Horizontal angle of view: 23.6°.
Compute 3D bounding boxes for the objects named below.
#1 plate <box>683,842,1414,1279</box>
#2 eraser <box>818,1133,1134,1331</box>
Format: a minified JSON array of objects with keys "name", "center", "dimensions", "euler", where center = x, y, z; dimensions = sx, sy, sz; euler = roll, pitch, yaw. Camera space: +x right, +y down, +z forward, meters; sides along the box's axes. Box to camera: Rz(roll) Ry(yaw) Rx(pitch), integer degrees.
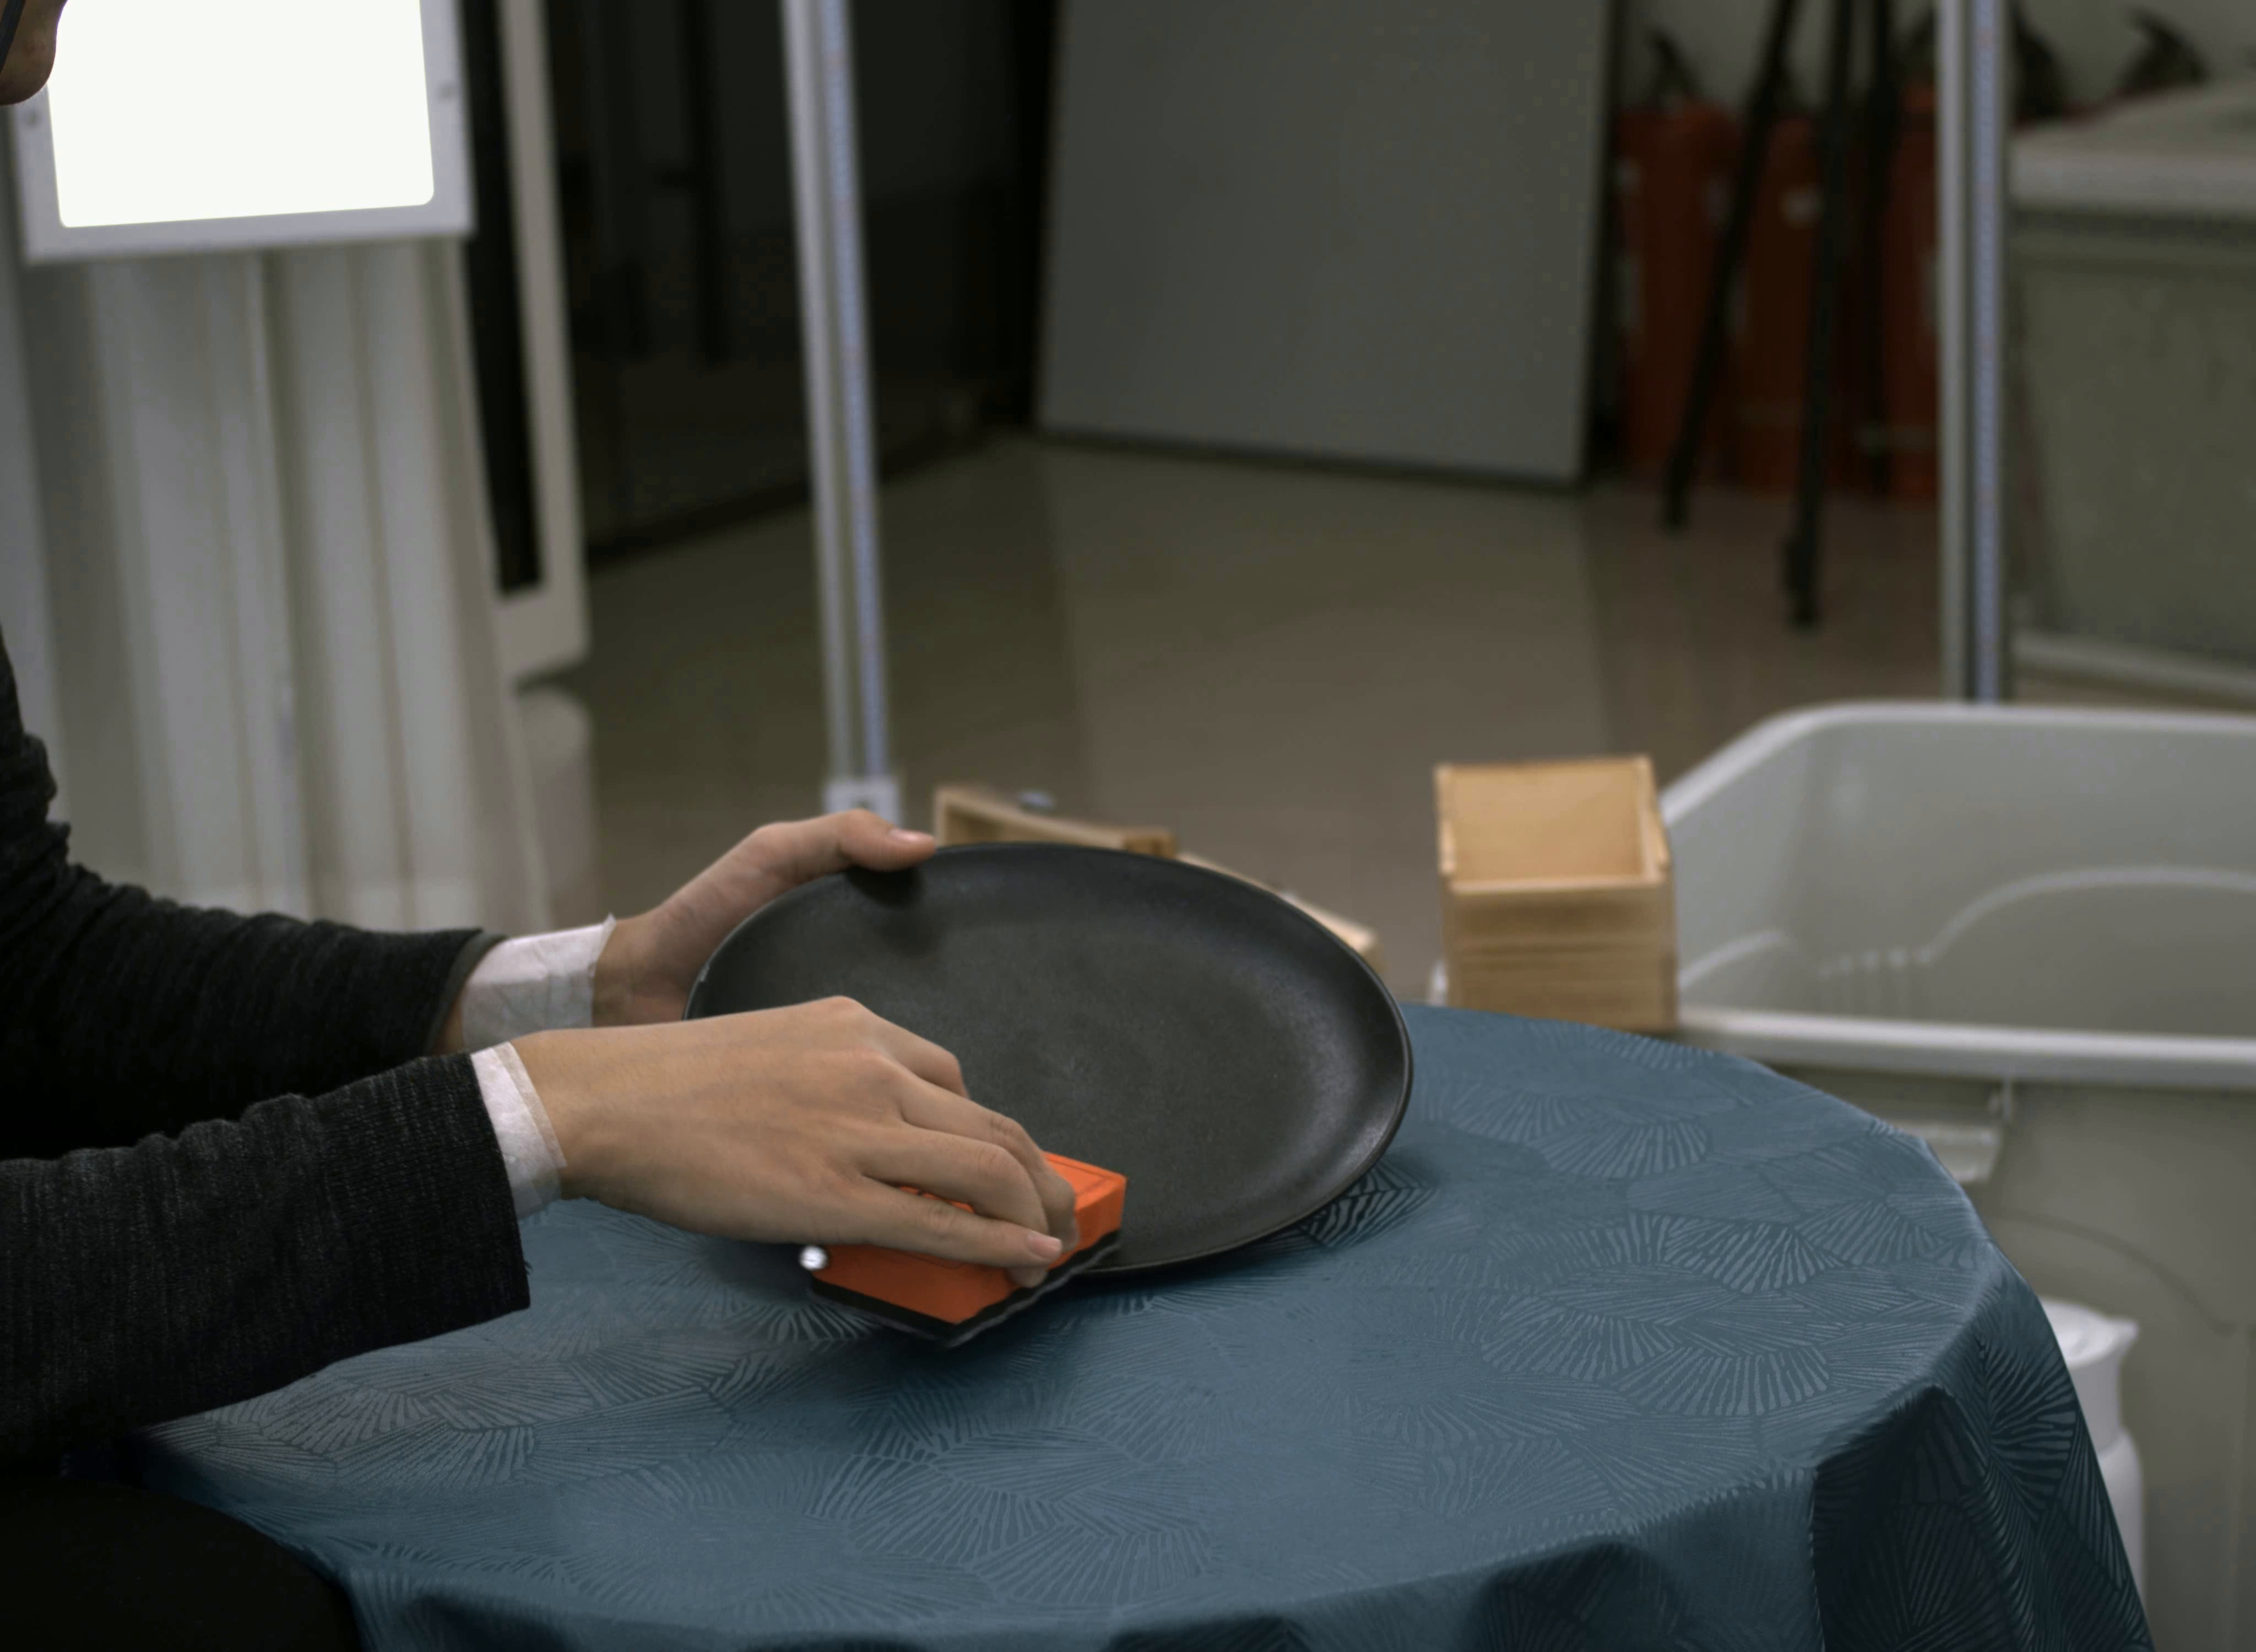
[{"name":"plate","center":[-0.026,0.080,1.773],"dimensions":[0.241,0.023,0.246],"euler":[1,33,-1]},{"name":"eraser","center":[-0.046,0.124,1.658],"dimensions":[0.059,0.023,0.106],"euler":[6,19,31]}]
